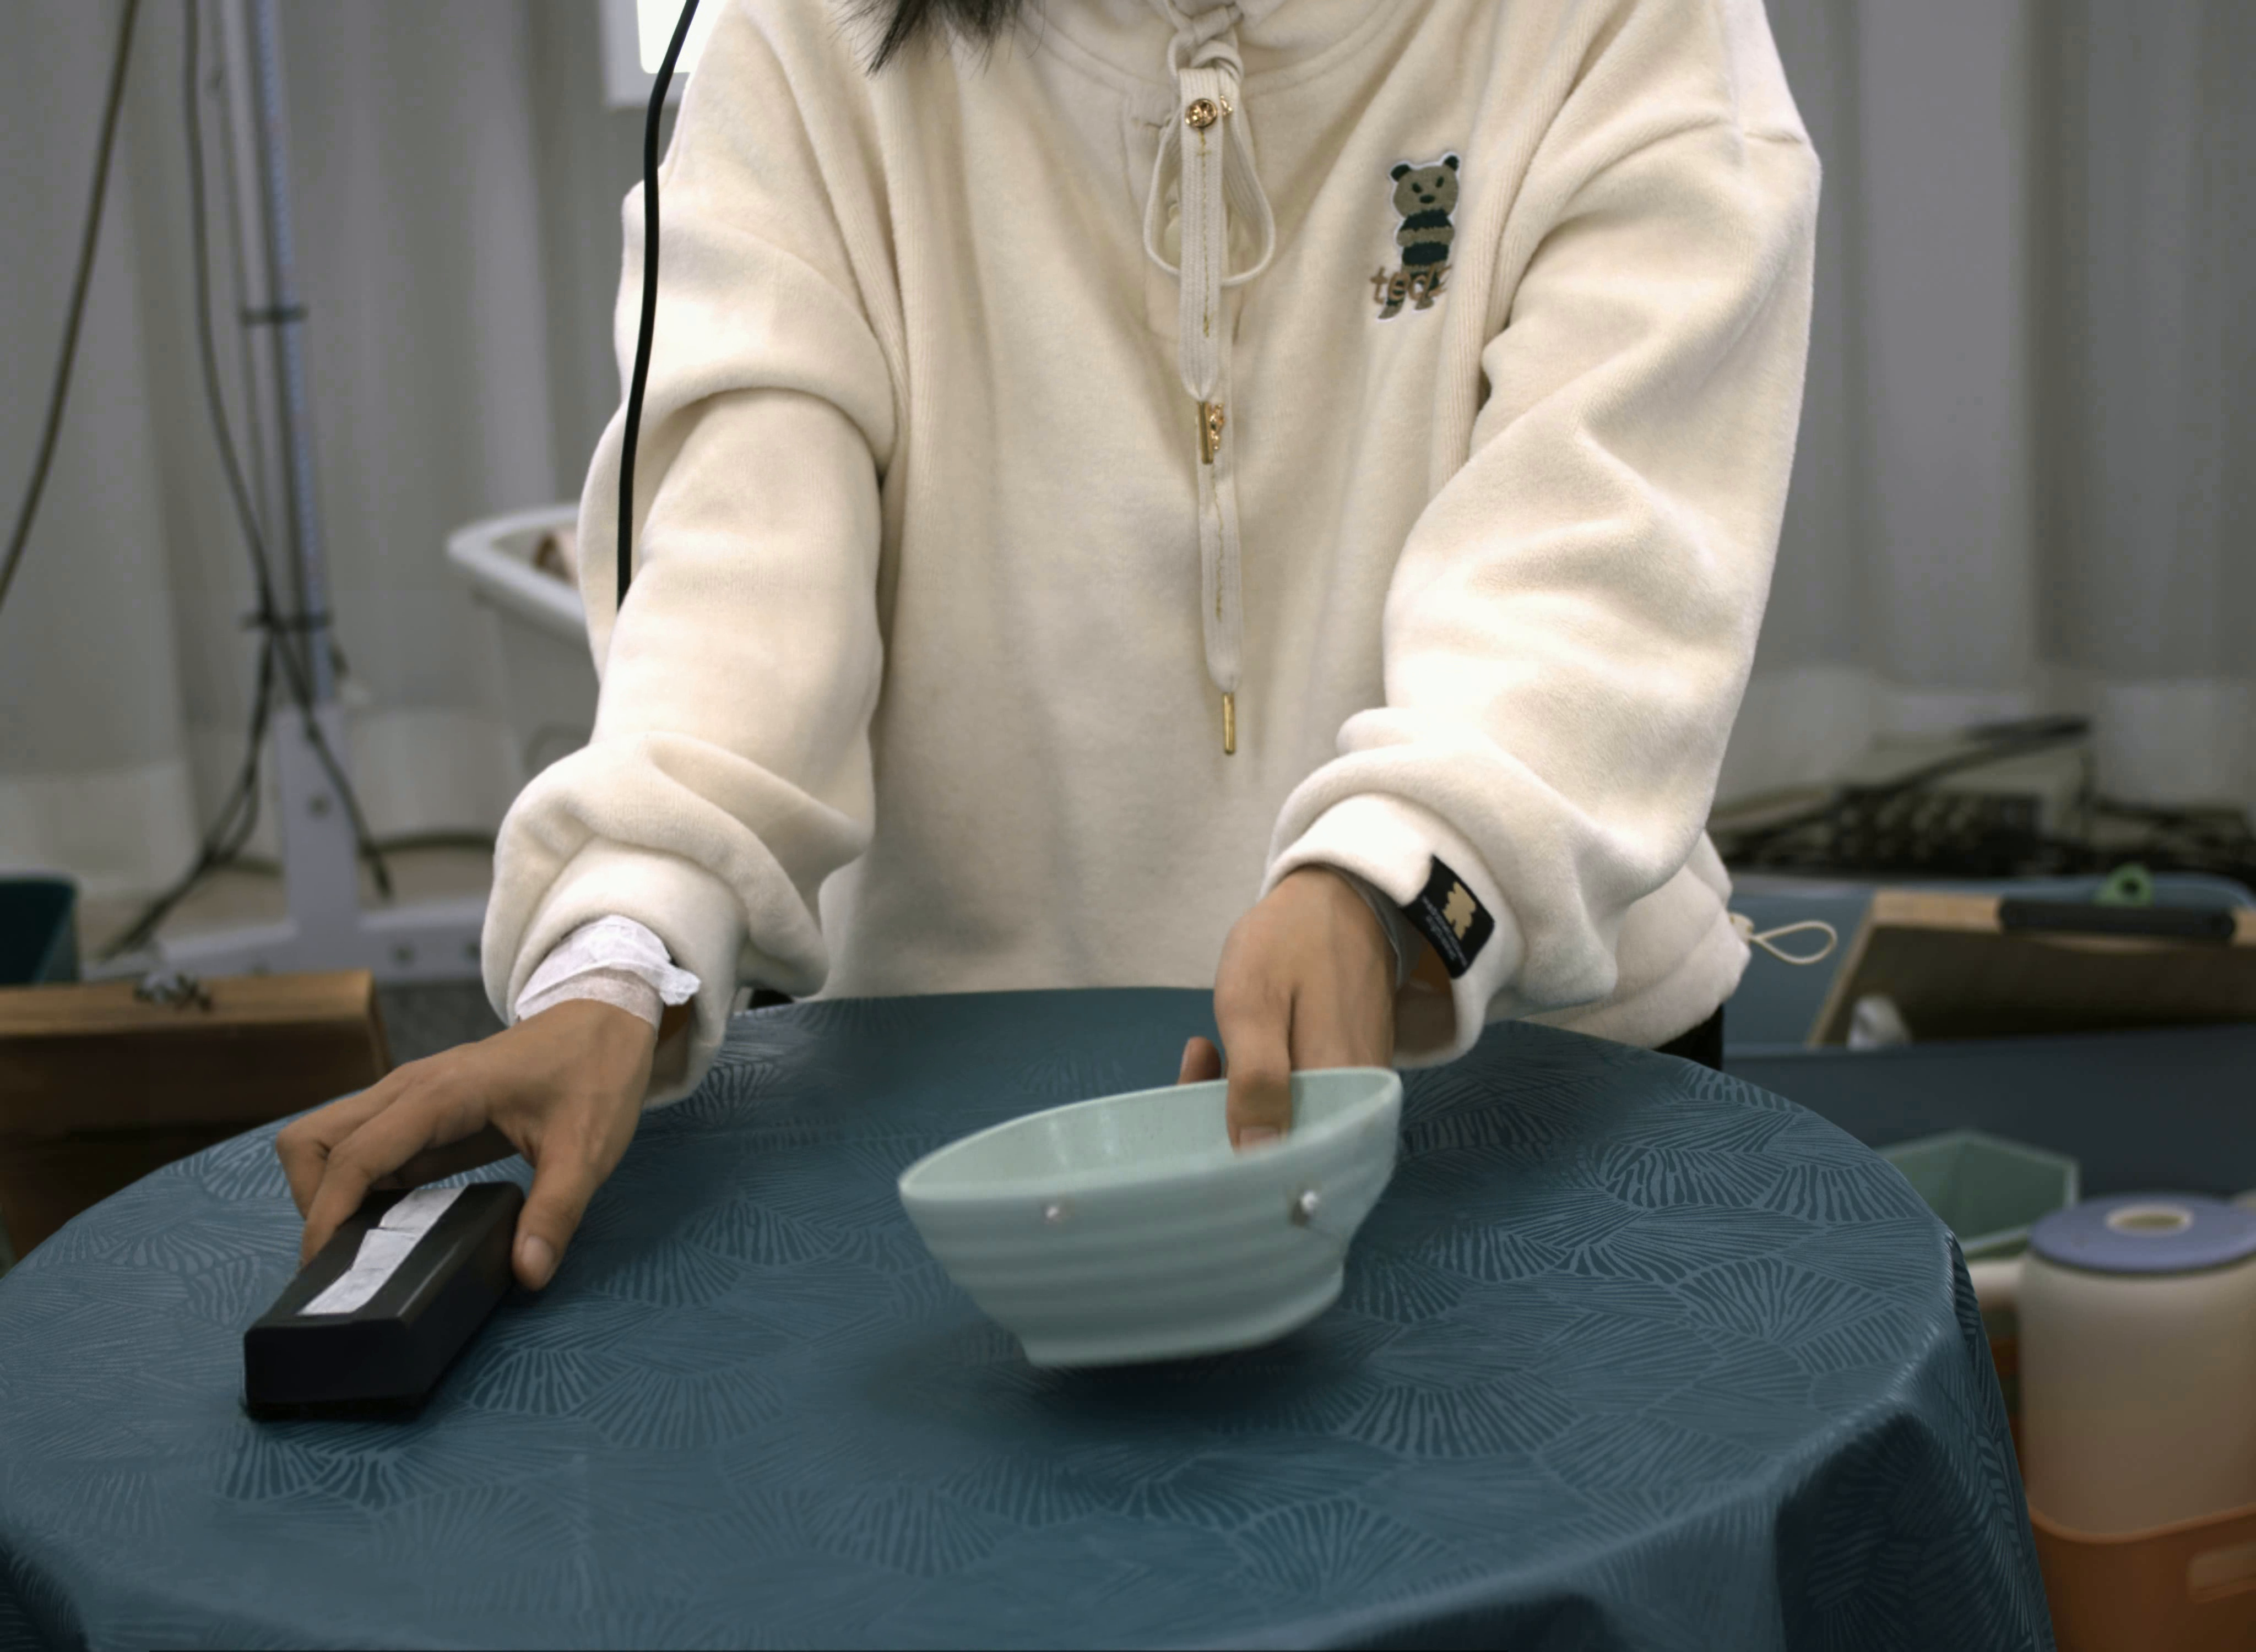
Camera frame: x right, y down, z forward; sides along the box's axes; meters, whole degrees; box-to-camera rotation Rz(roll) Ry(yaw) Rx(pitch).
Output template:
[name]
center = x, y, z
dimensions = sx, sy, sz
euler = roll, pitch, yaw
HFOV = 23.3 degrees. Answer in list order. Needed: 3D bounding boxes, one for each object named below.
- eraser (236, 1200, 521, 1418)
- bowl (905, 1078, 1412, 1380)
[eraser]
center = -0.217, 0.141, 1.603
dimensions = 0.053, 0.030, 0.126
euler = -2, 12, 9
[bowl]
center = 0.012, 0.117, 1.553
dimensions = 0.151, 0.058, 0.152
euler = -8, 10, 1
